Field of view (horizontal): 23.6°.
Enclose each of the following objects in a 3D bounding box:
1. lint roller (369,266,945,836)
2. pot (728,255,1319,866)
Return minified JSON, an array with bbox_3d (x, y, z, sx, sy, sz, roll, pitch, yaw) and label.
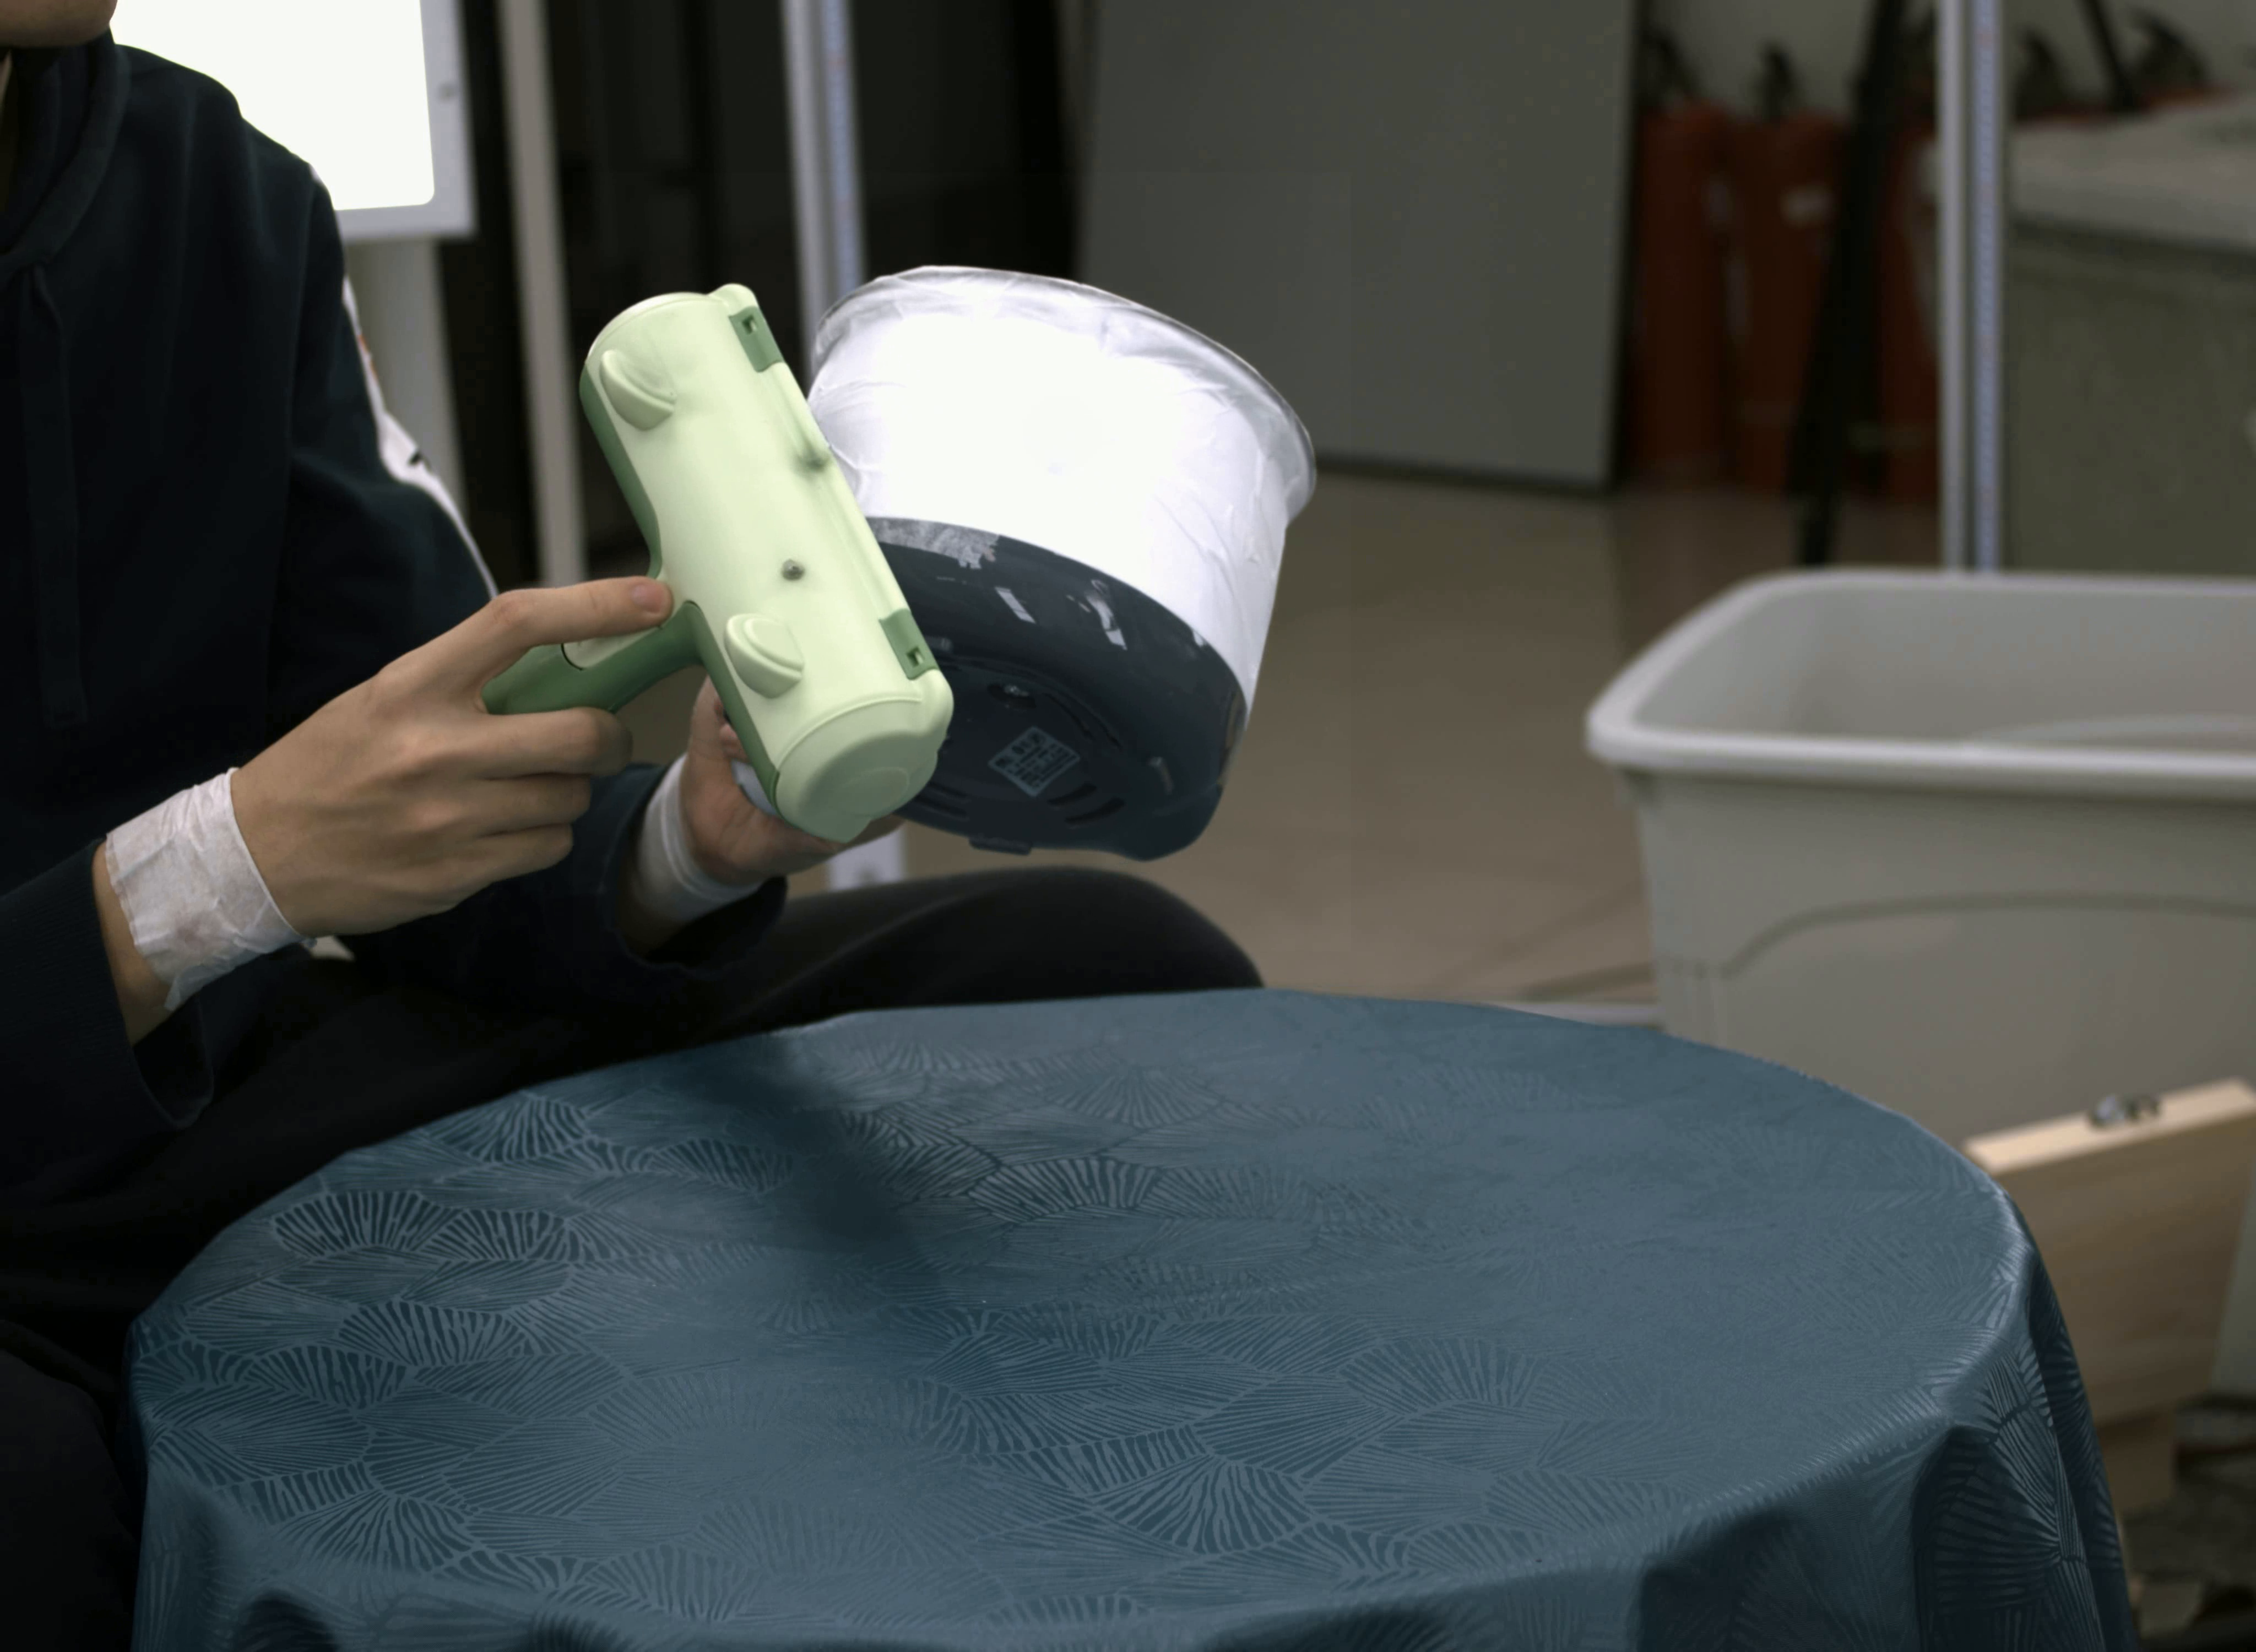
[{"bbox_3d":[-0.167,-0.064,1.675,0.182,0.081,0.201,-29,55,3],"label":"lint roller"},{"bbox_3d":[-0.052,-0.077,1.808,0.176,0.137,0.236,30,-28,-24],"label":"pot"}]
